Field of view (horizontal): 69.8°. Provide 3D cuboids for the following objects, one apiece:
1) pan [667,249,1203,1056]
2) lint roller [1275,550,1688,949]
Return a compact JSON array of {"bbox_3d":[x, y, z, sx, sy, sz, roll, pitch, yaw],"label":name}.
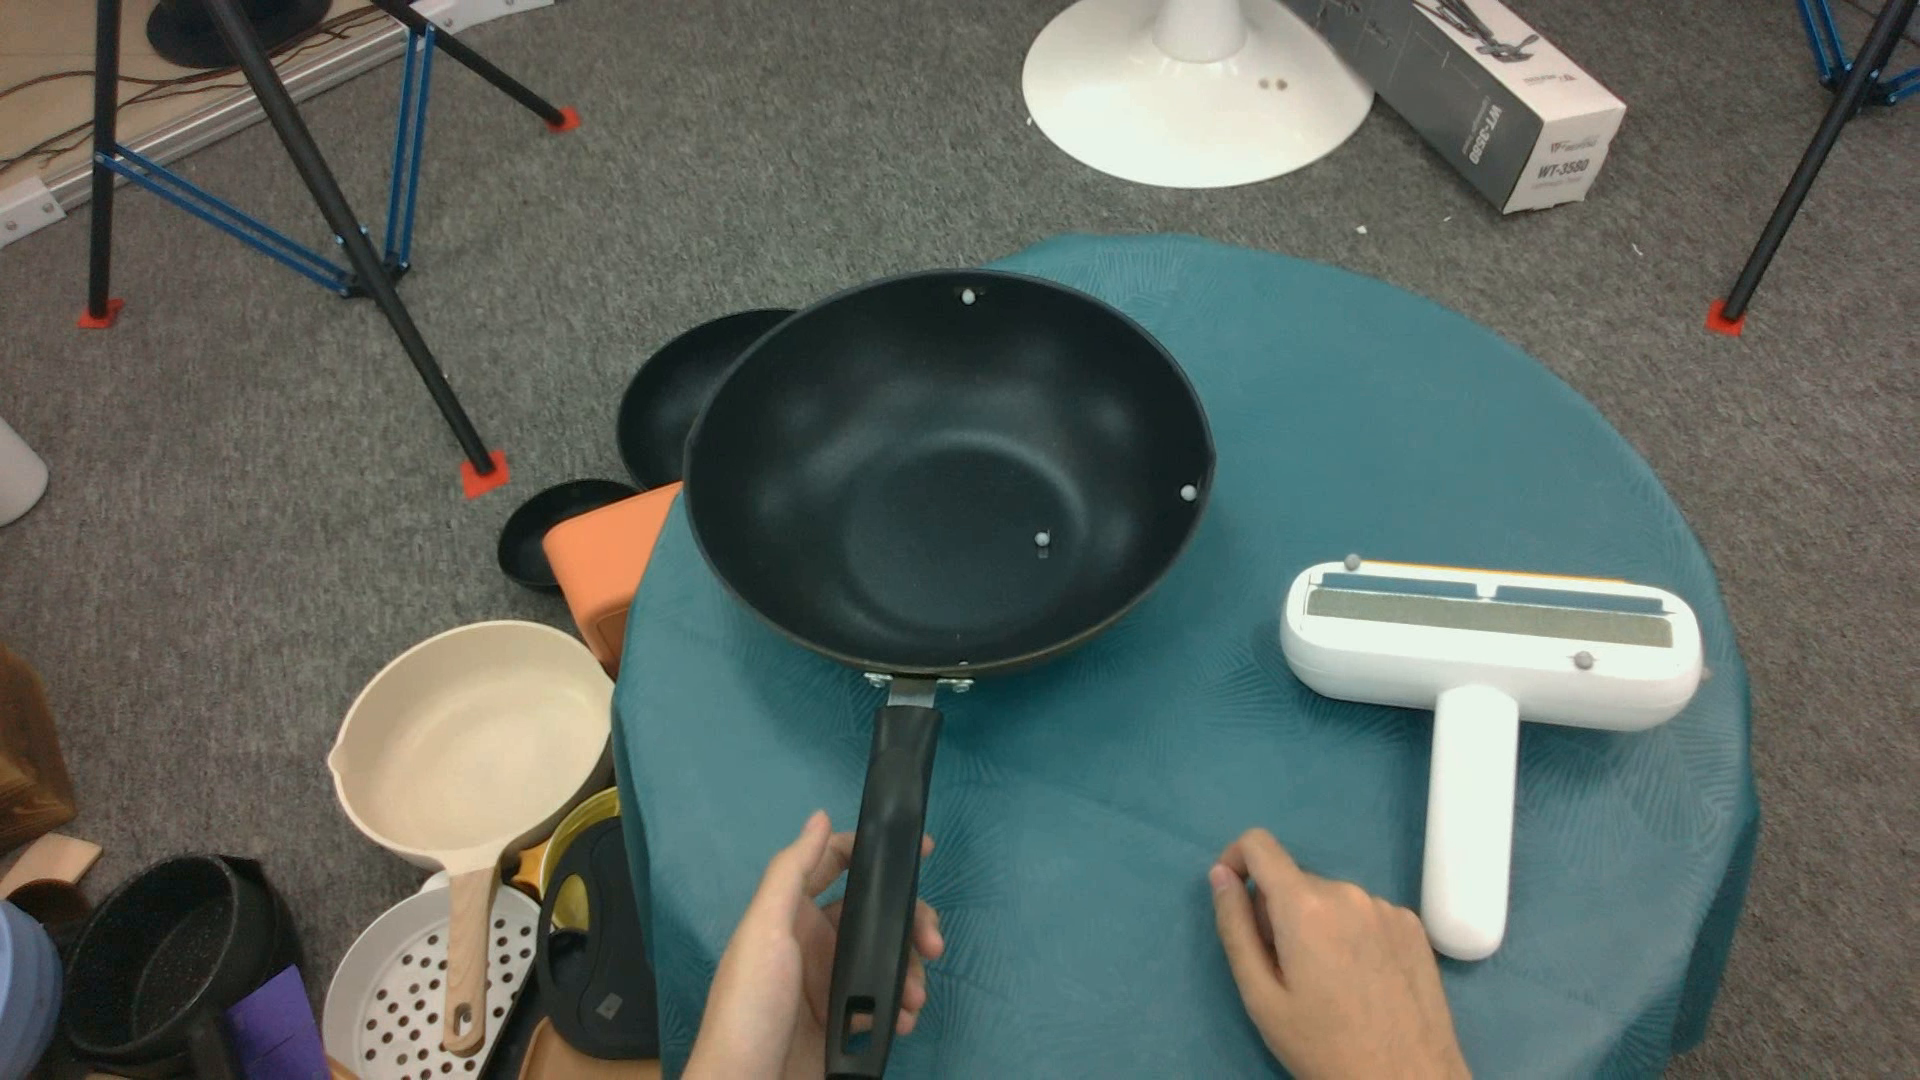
[{"bbox_3d":[-0.024,0.038,0.711,0.288,0.086,0.465,4,54,6],"label":"pan"},{"bbox_3d":[0.238,0.099,0.664,0.192,0.074,0.193,12,56,17],"label":"lint roller"}]
